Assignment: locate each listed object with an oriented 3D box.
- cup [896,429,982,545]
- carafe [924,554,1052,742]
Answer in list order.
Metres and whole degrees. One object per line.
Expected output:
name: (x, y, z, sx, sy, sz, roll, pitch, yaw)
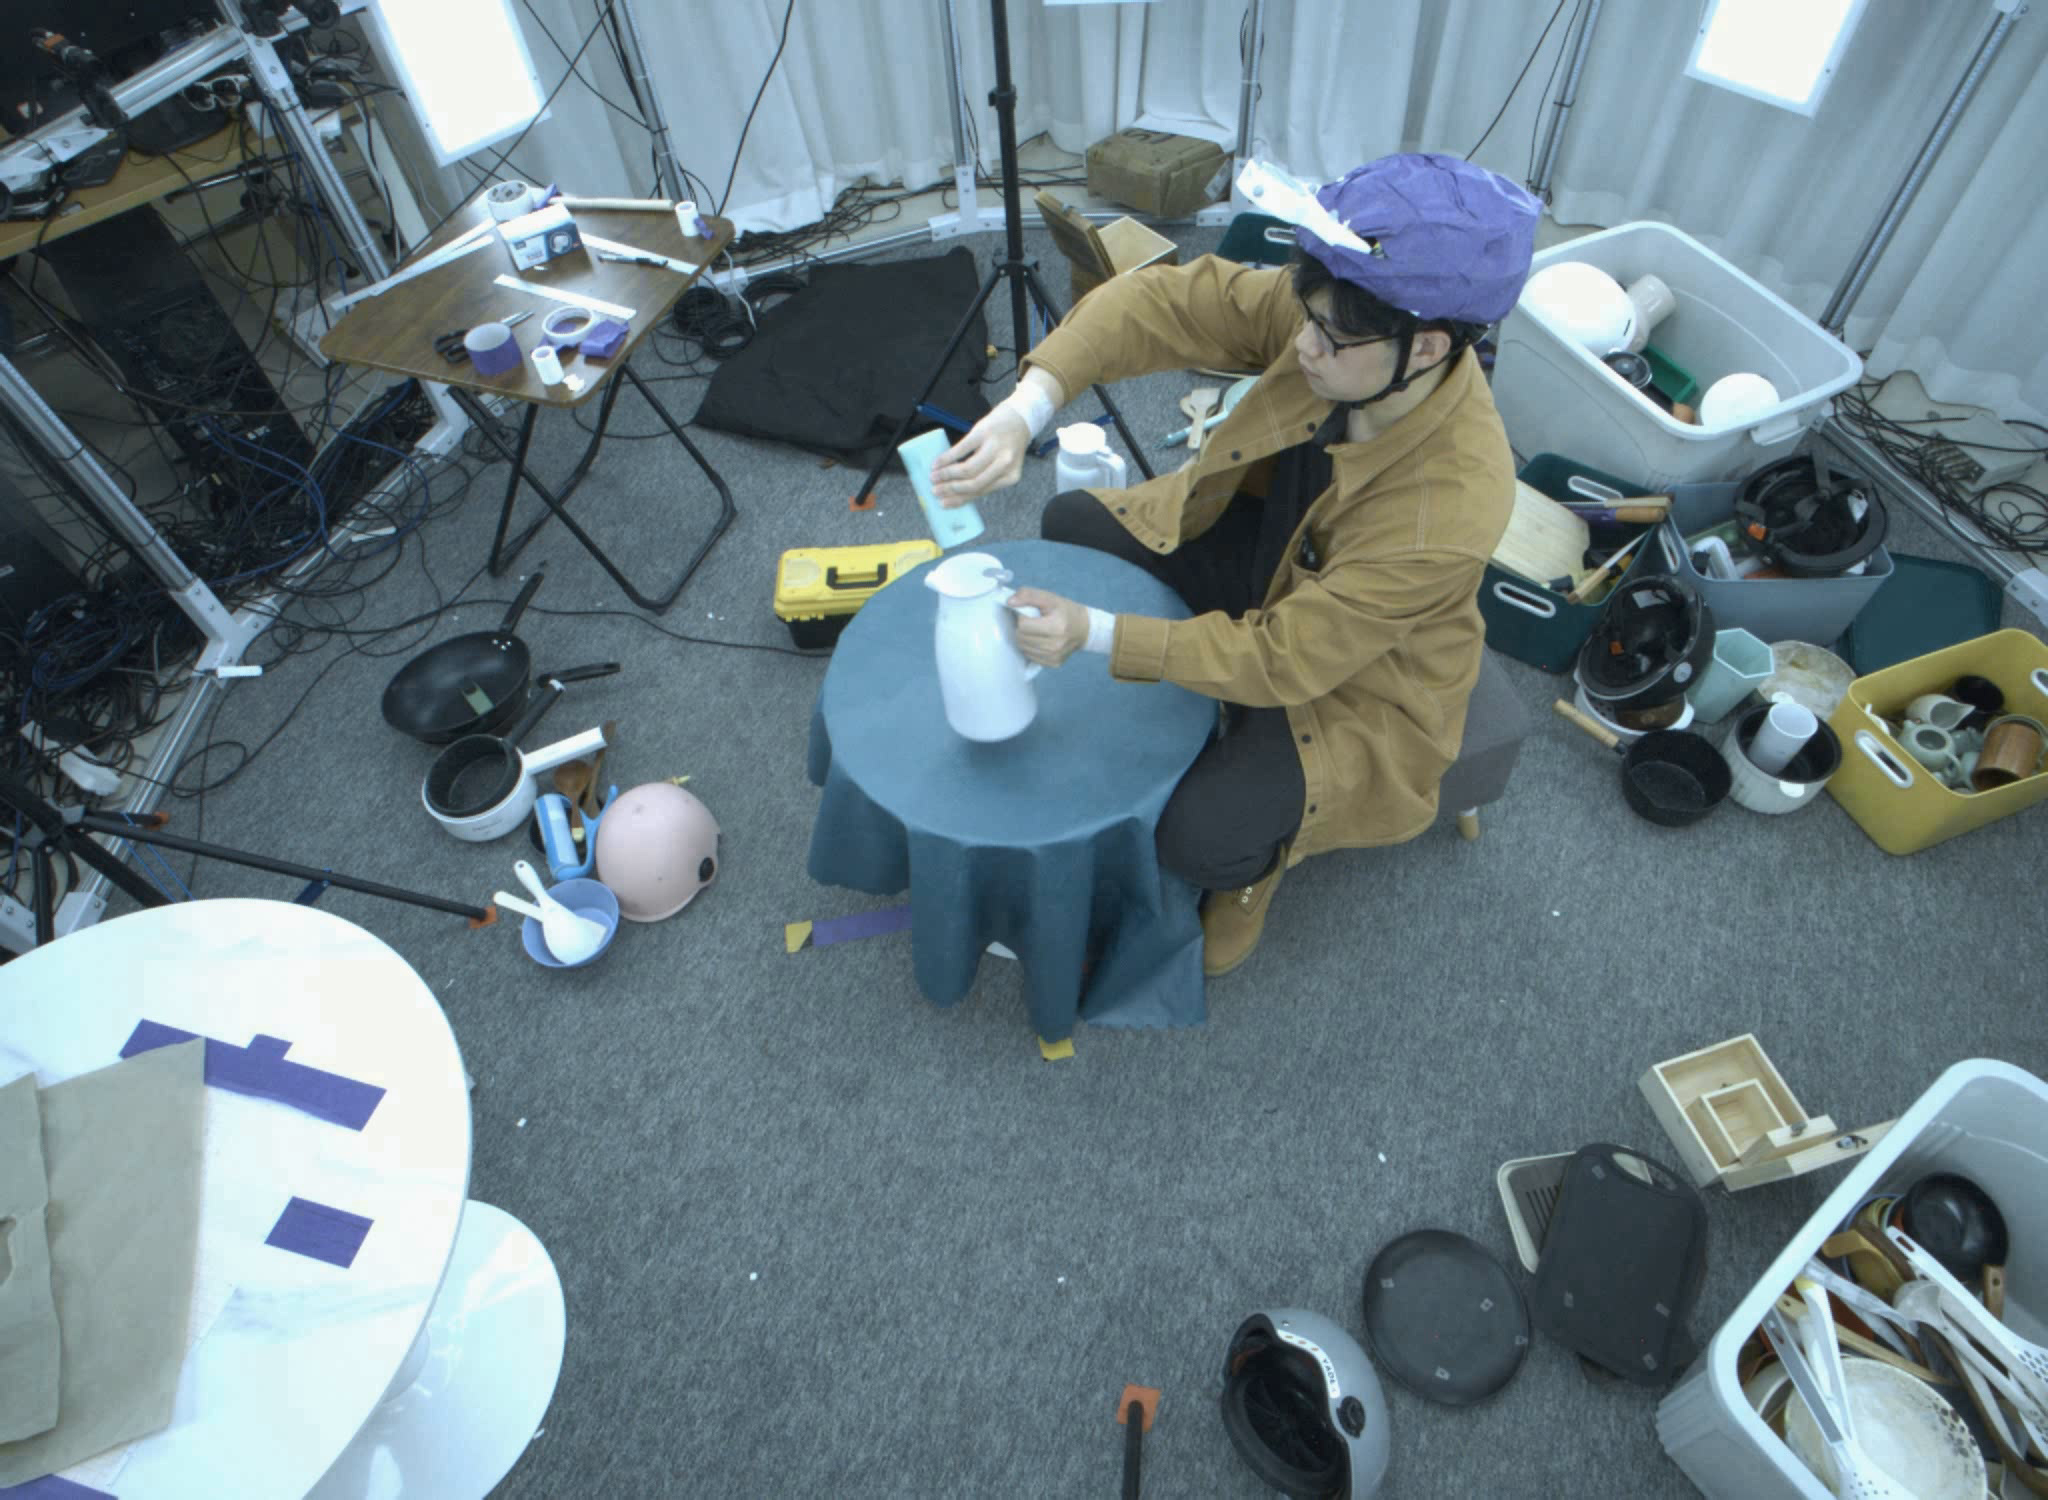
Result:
cup: (-0.105, -0.323, 1.487, 0.066, 0.134, 0.066, -19, 24, 10)
carafe: (-0.041, -0.139, 1.645, 0.165, 0.252, 0.132, 13, 51, 19)
